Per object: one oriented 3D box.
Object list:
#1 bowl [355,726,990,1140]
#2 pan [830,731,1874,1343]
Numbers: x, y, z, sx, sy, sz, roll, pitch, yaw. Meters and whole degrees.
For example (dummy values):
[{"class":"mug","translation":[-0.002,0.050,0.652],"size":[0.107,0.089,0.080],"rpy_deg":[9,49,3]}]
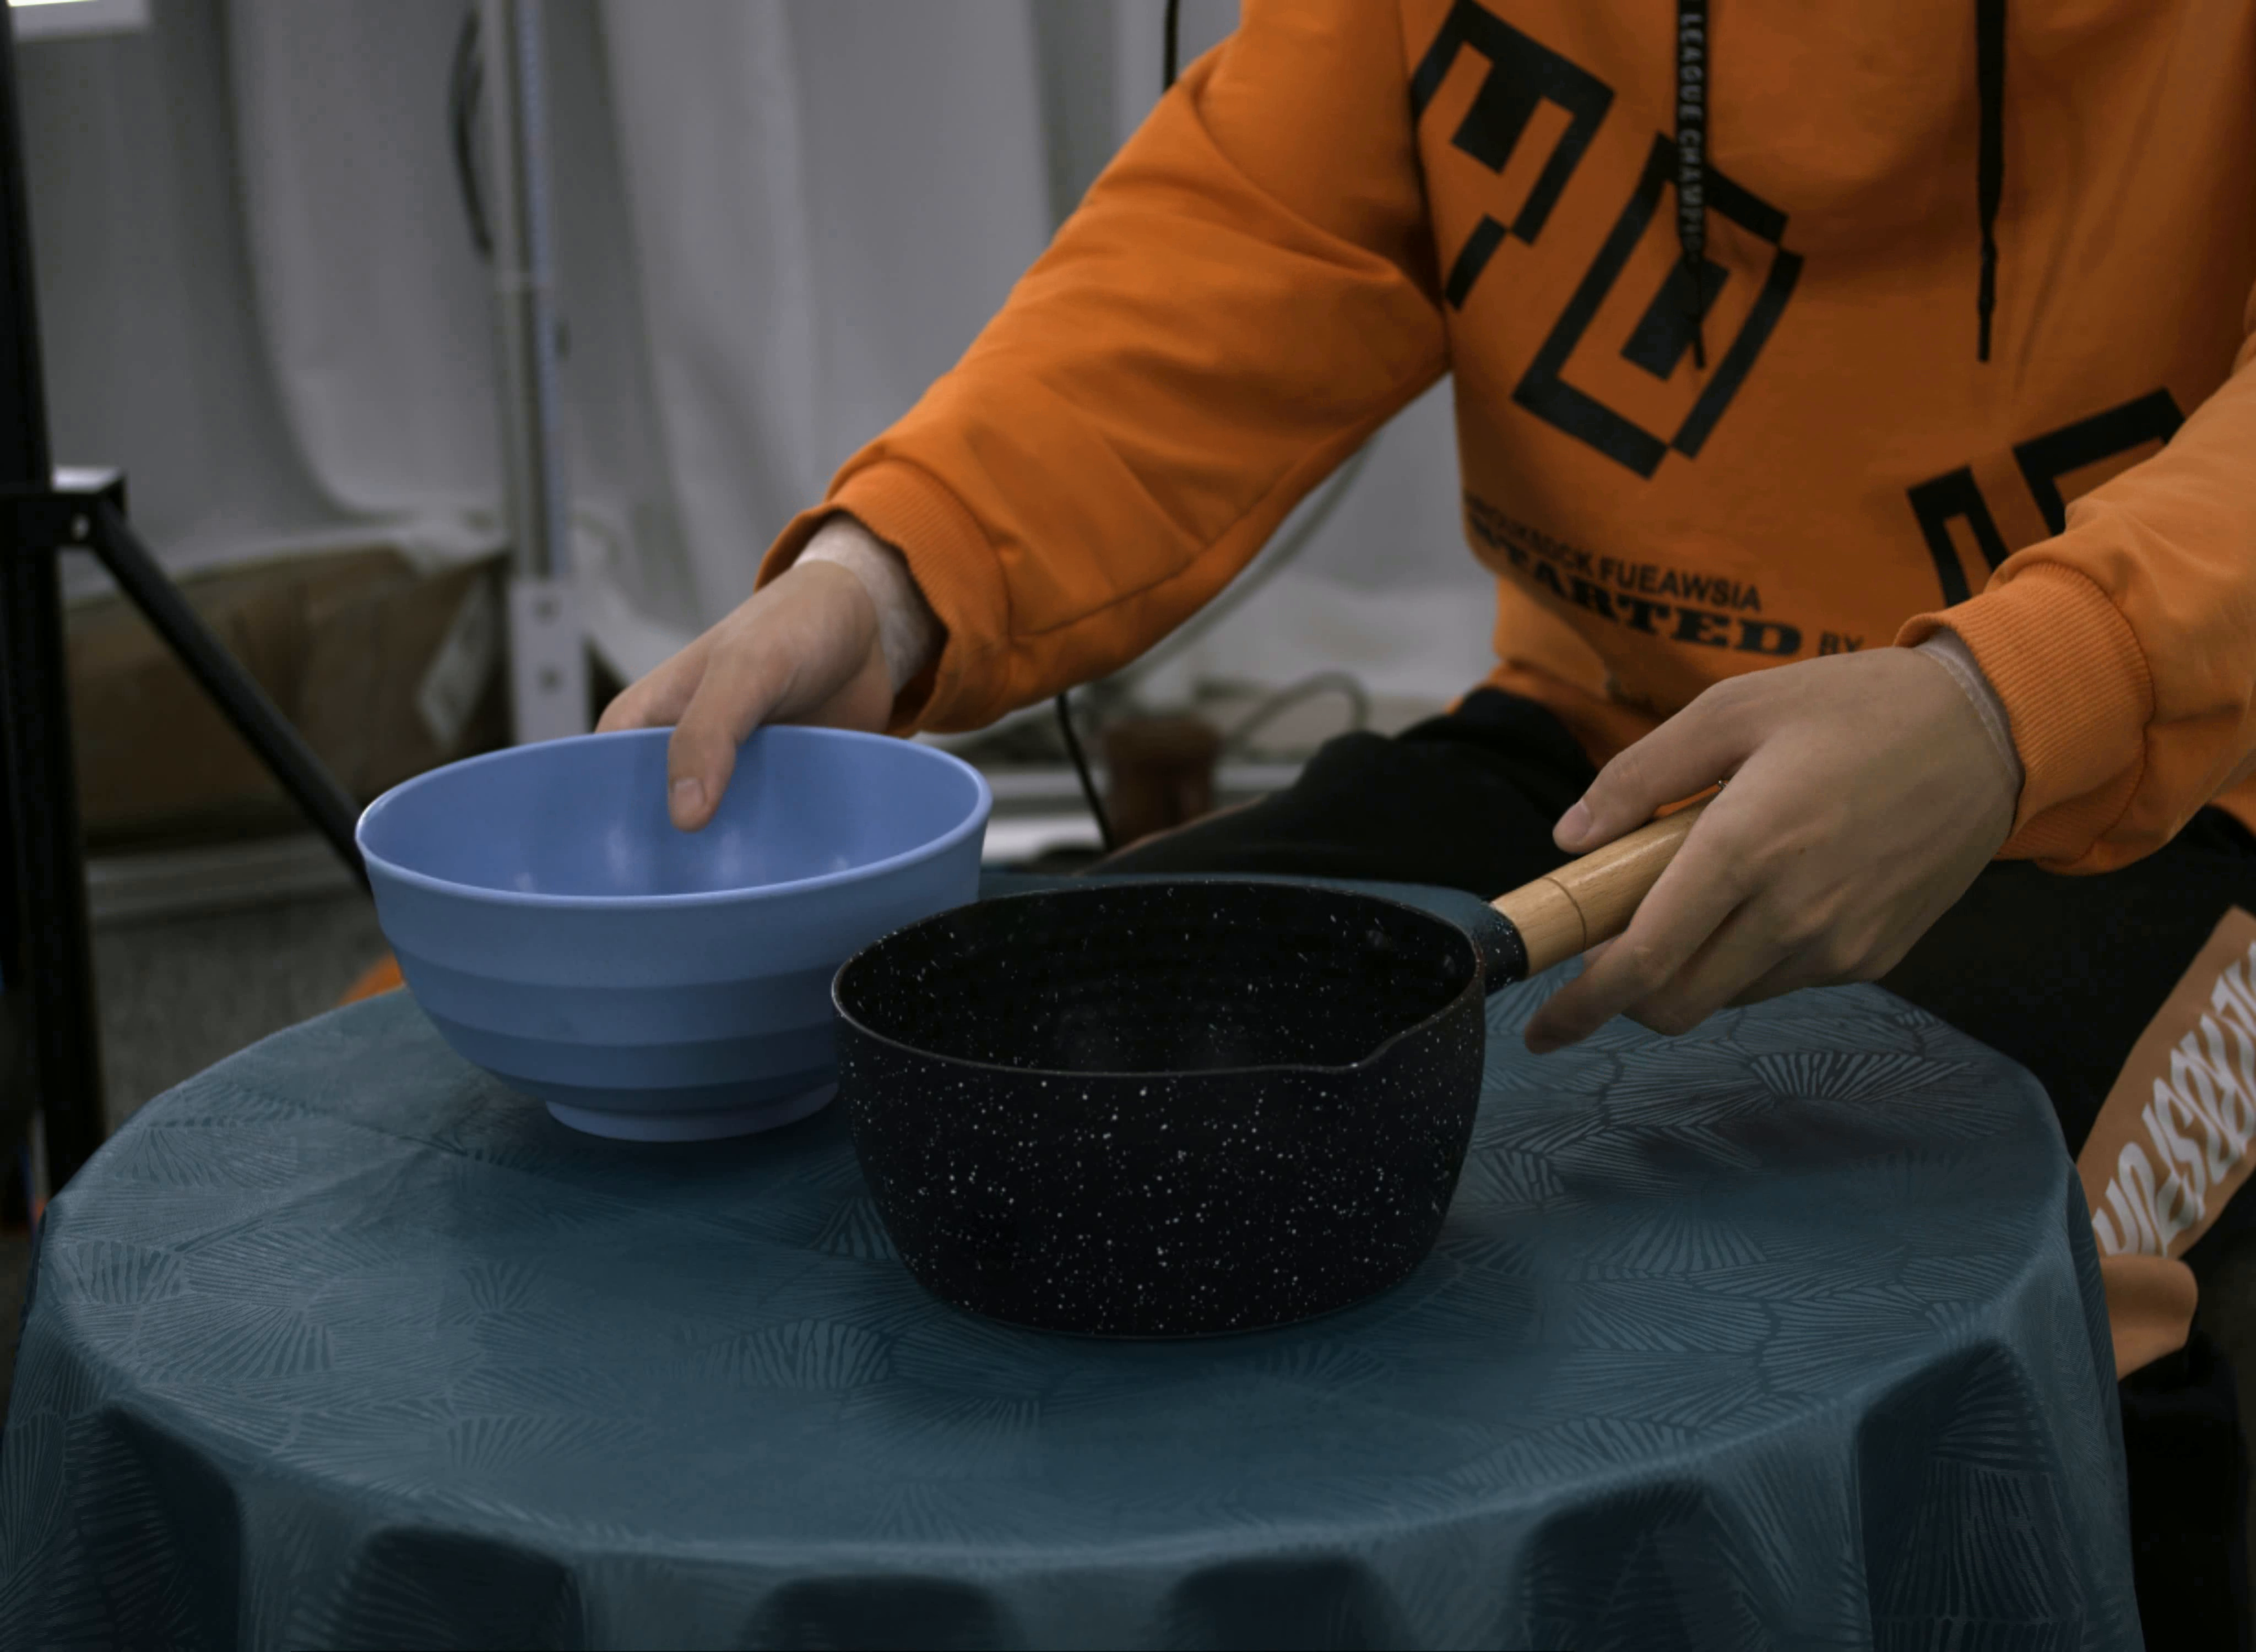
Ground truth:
[{"class":"bowl","translation":[-0.138,0.038,1.653],"size":[0.195,0.095,0.197],"rpy_deg":[-4,16,0]},{"class":"pan","translation":[0.077,0.056,1.532],"size":[0.335,0.108,0.212],"rpy_deg":[-13,17,-29]}]
